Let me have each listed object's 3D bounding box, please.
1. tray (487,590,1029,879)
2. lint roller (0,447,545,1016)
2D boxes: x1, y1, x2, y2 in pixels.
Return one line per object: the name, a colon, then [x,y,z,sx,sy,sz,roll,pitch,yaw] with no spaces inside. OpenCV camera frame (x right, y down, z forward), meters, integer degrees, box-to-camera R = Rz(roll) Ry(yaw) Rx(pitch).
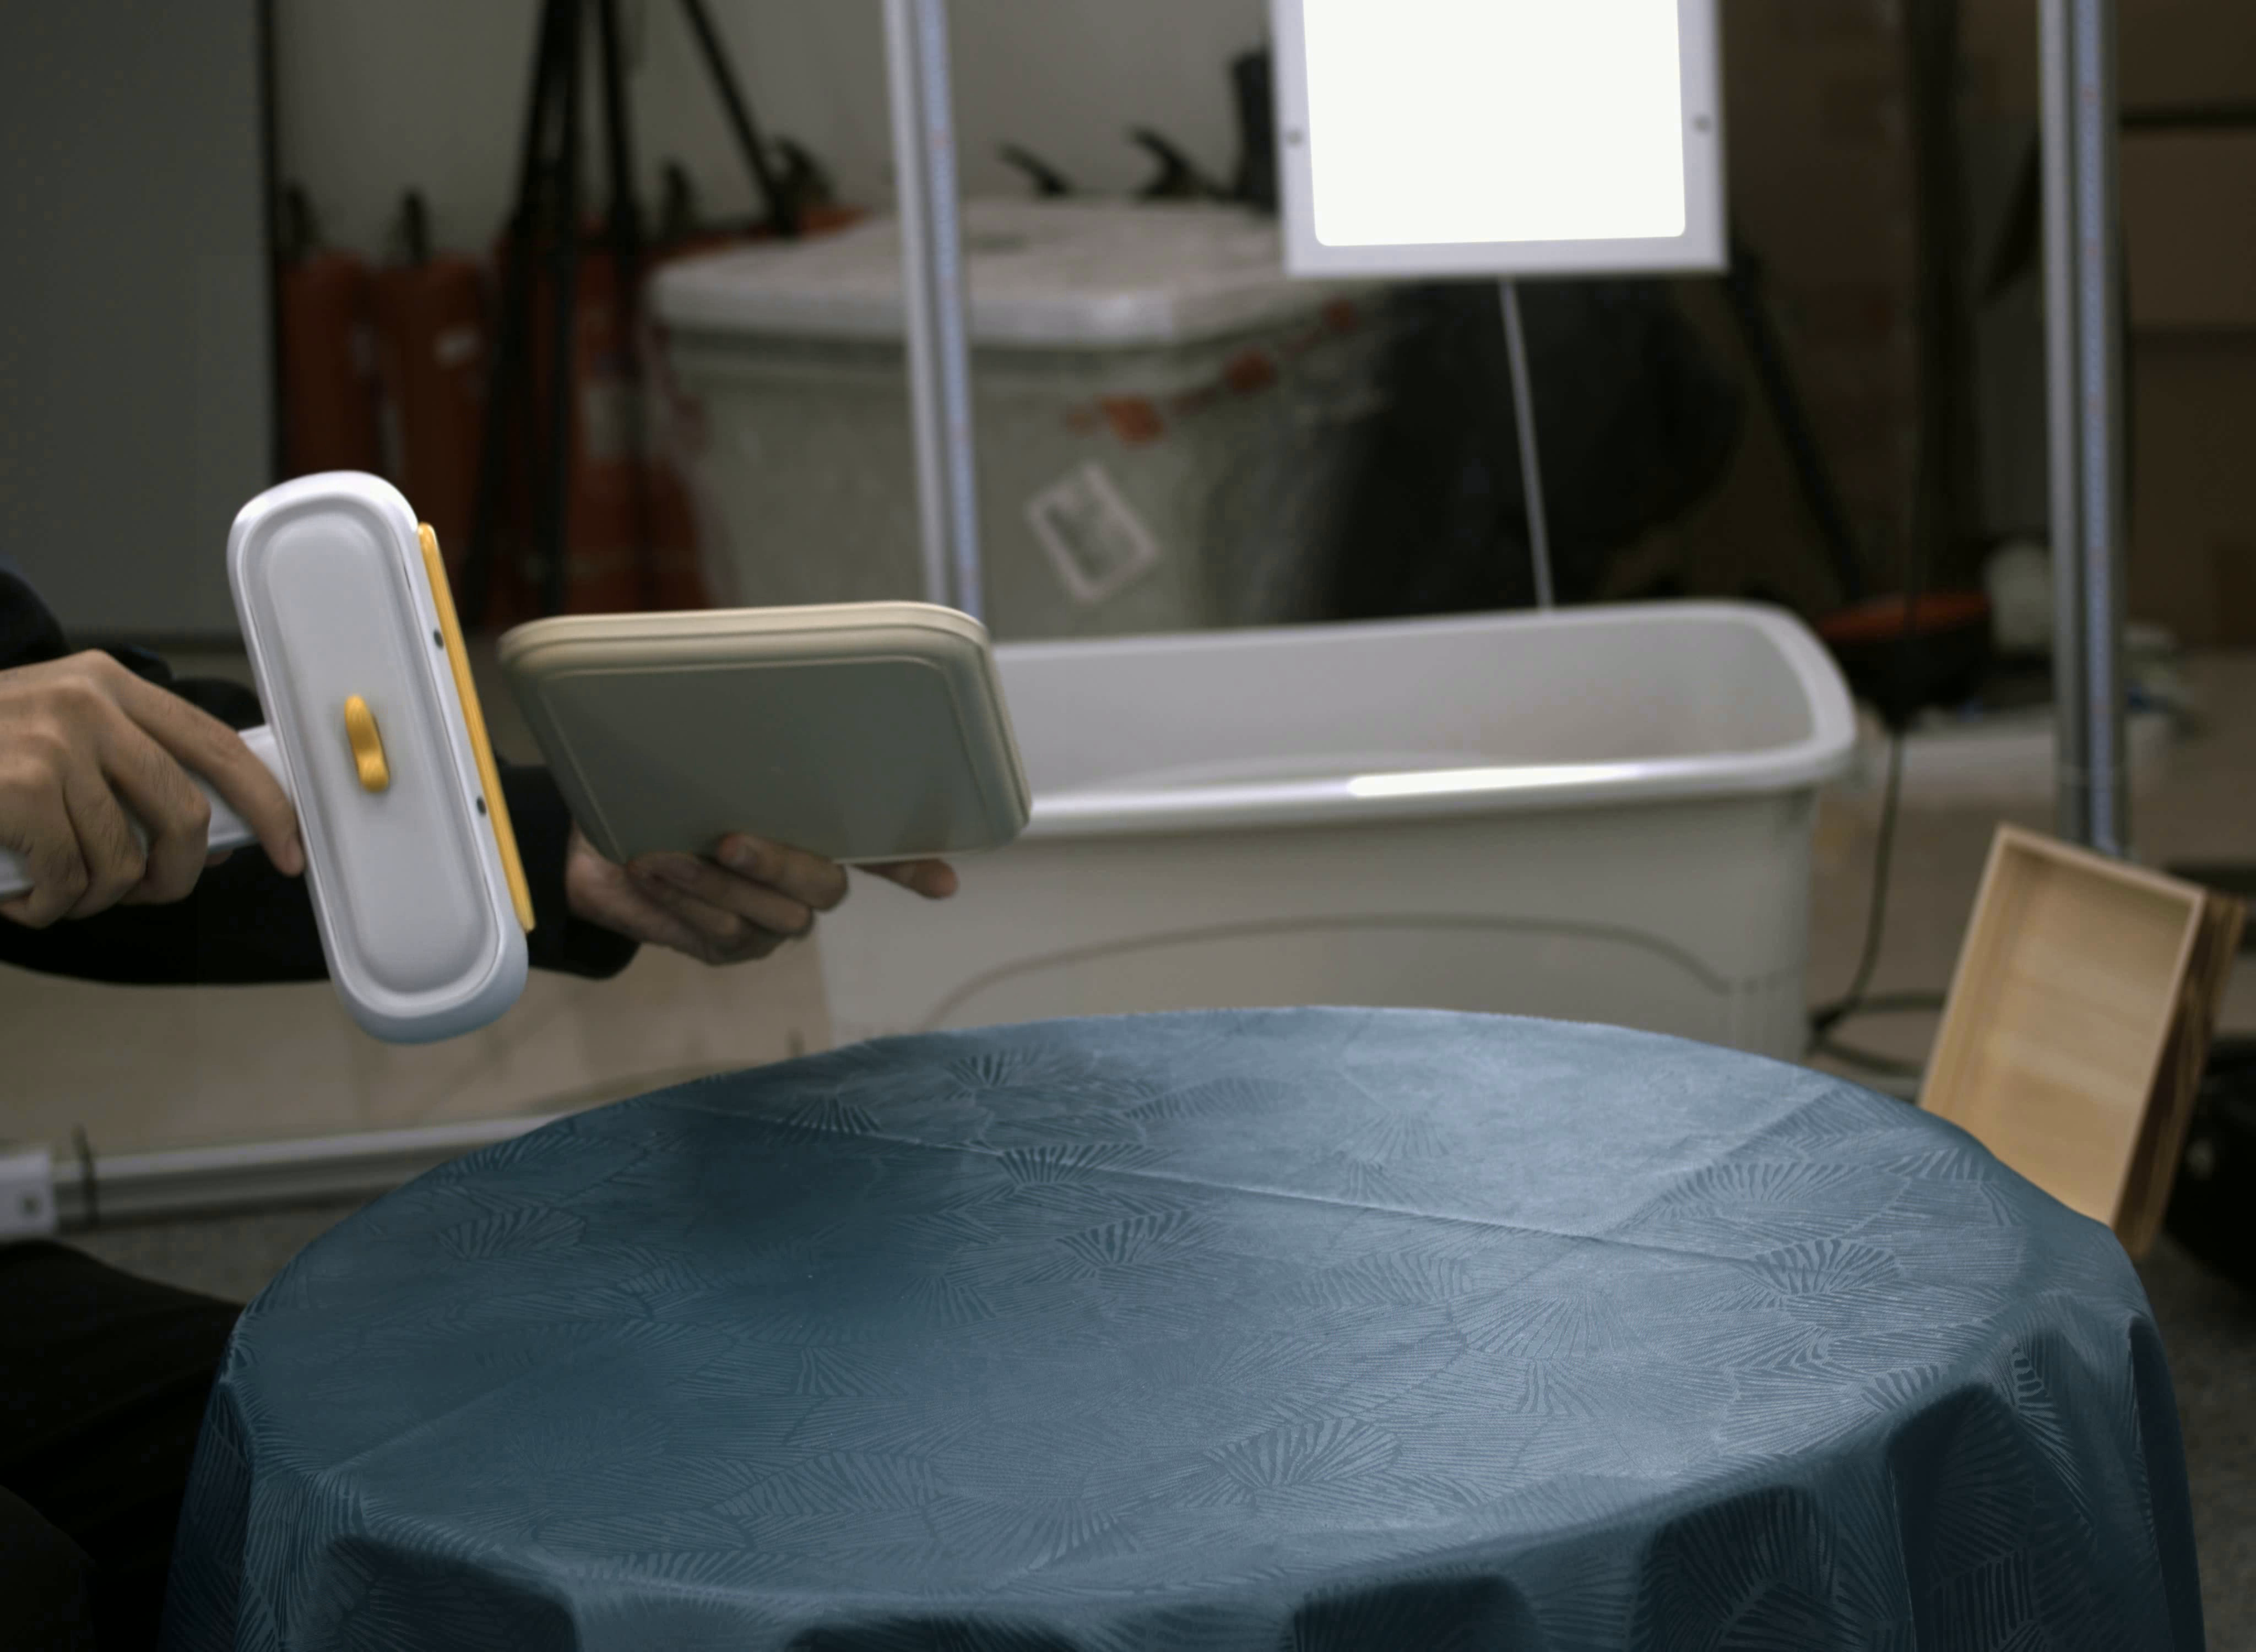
tray: [-0.128,-0.028,1.974,0.172,0.017,0.239,-4,-20,6]
lint roller: [-0.304,-0.013,1.820,0.190,0.193,0.075,-19,1,-10]
